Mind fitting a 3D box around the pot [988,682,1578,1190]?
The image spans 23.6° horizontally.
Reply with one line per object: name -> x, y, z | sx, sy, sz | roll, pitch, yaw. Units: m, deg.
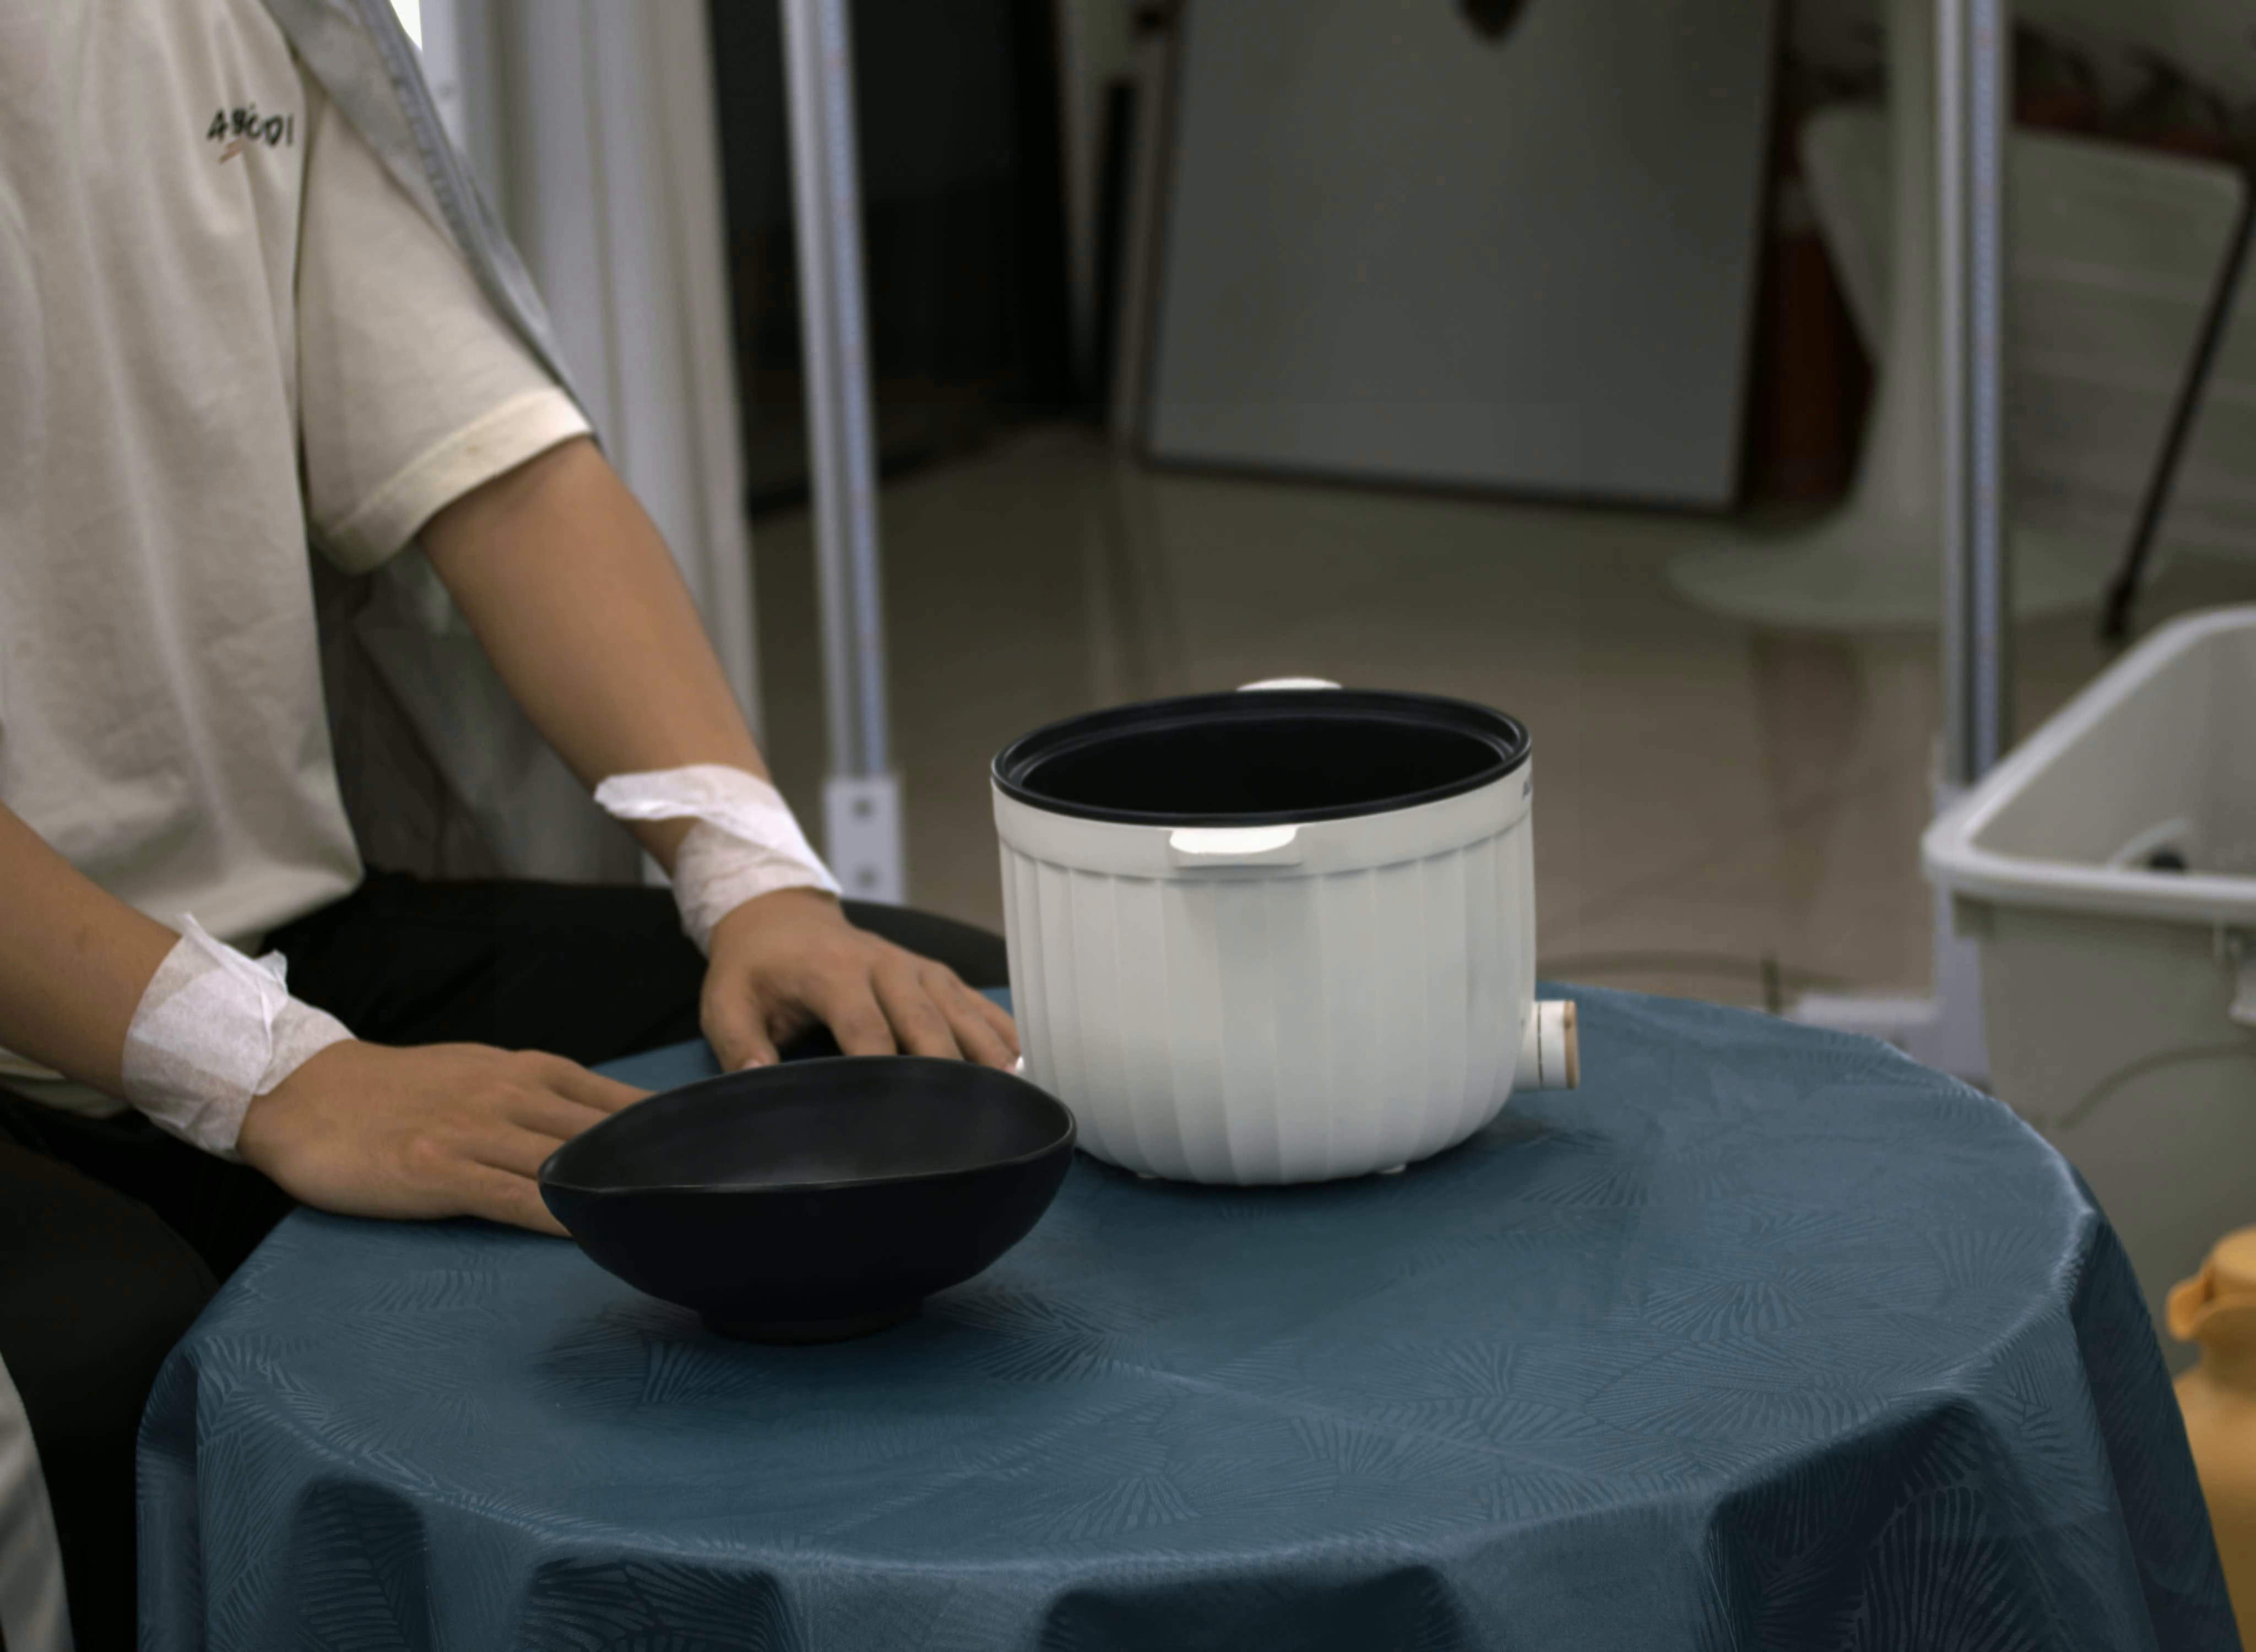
pot -> 0.053, 0.038, 1.806 | 0.189, 0.144, 0.240 | -5, 14, 8

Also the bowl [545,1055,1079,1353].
bowl -> -0.097, 0.122, 1.667 | 0.169, 0.067, 0.137 | -3, 13, 8
